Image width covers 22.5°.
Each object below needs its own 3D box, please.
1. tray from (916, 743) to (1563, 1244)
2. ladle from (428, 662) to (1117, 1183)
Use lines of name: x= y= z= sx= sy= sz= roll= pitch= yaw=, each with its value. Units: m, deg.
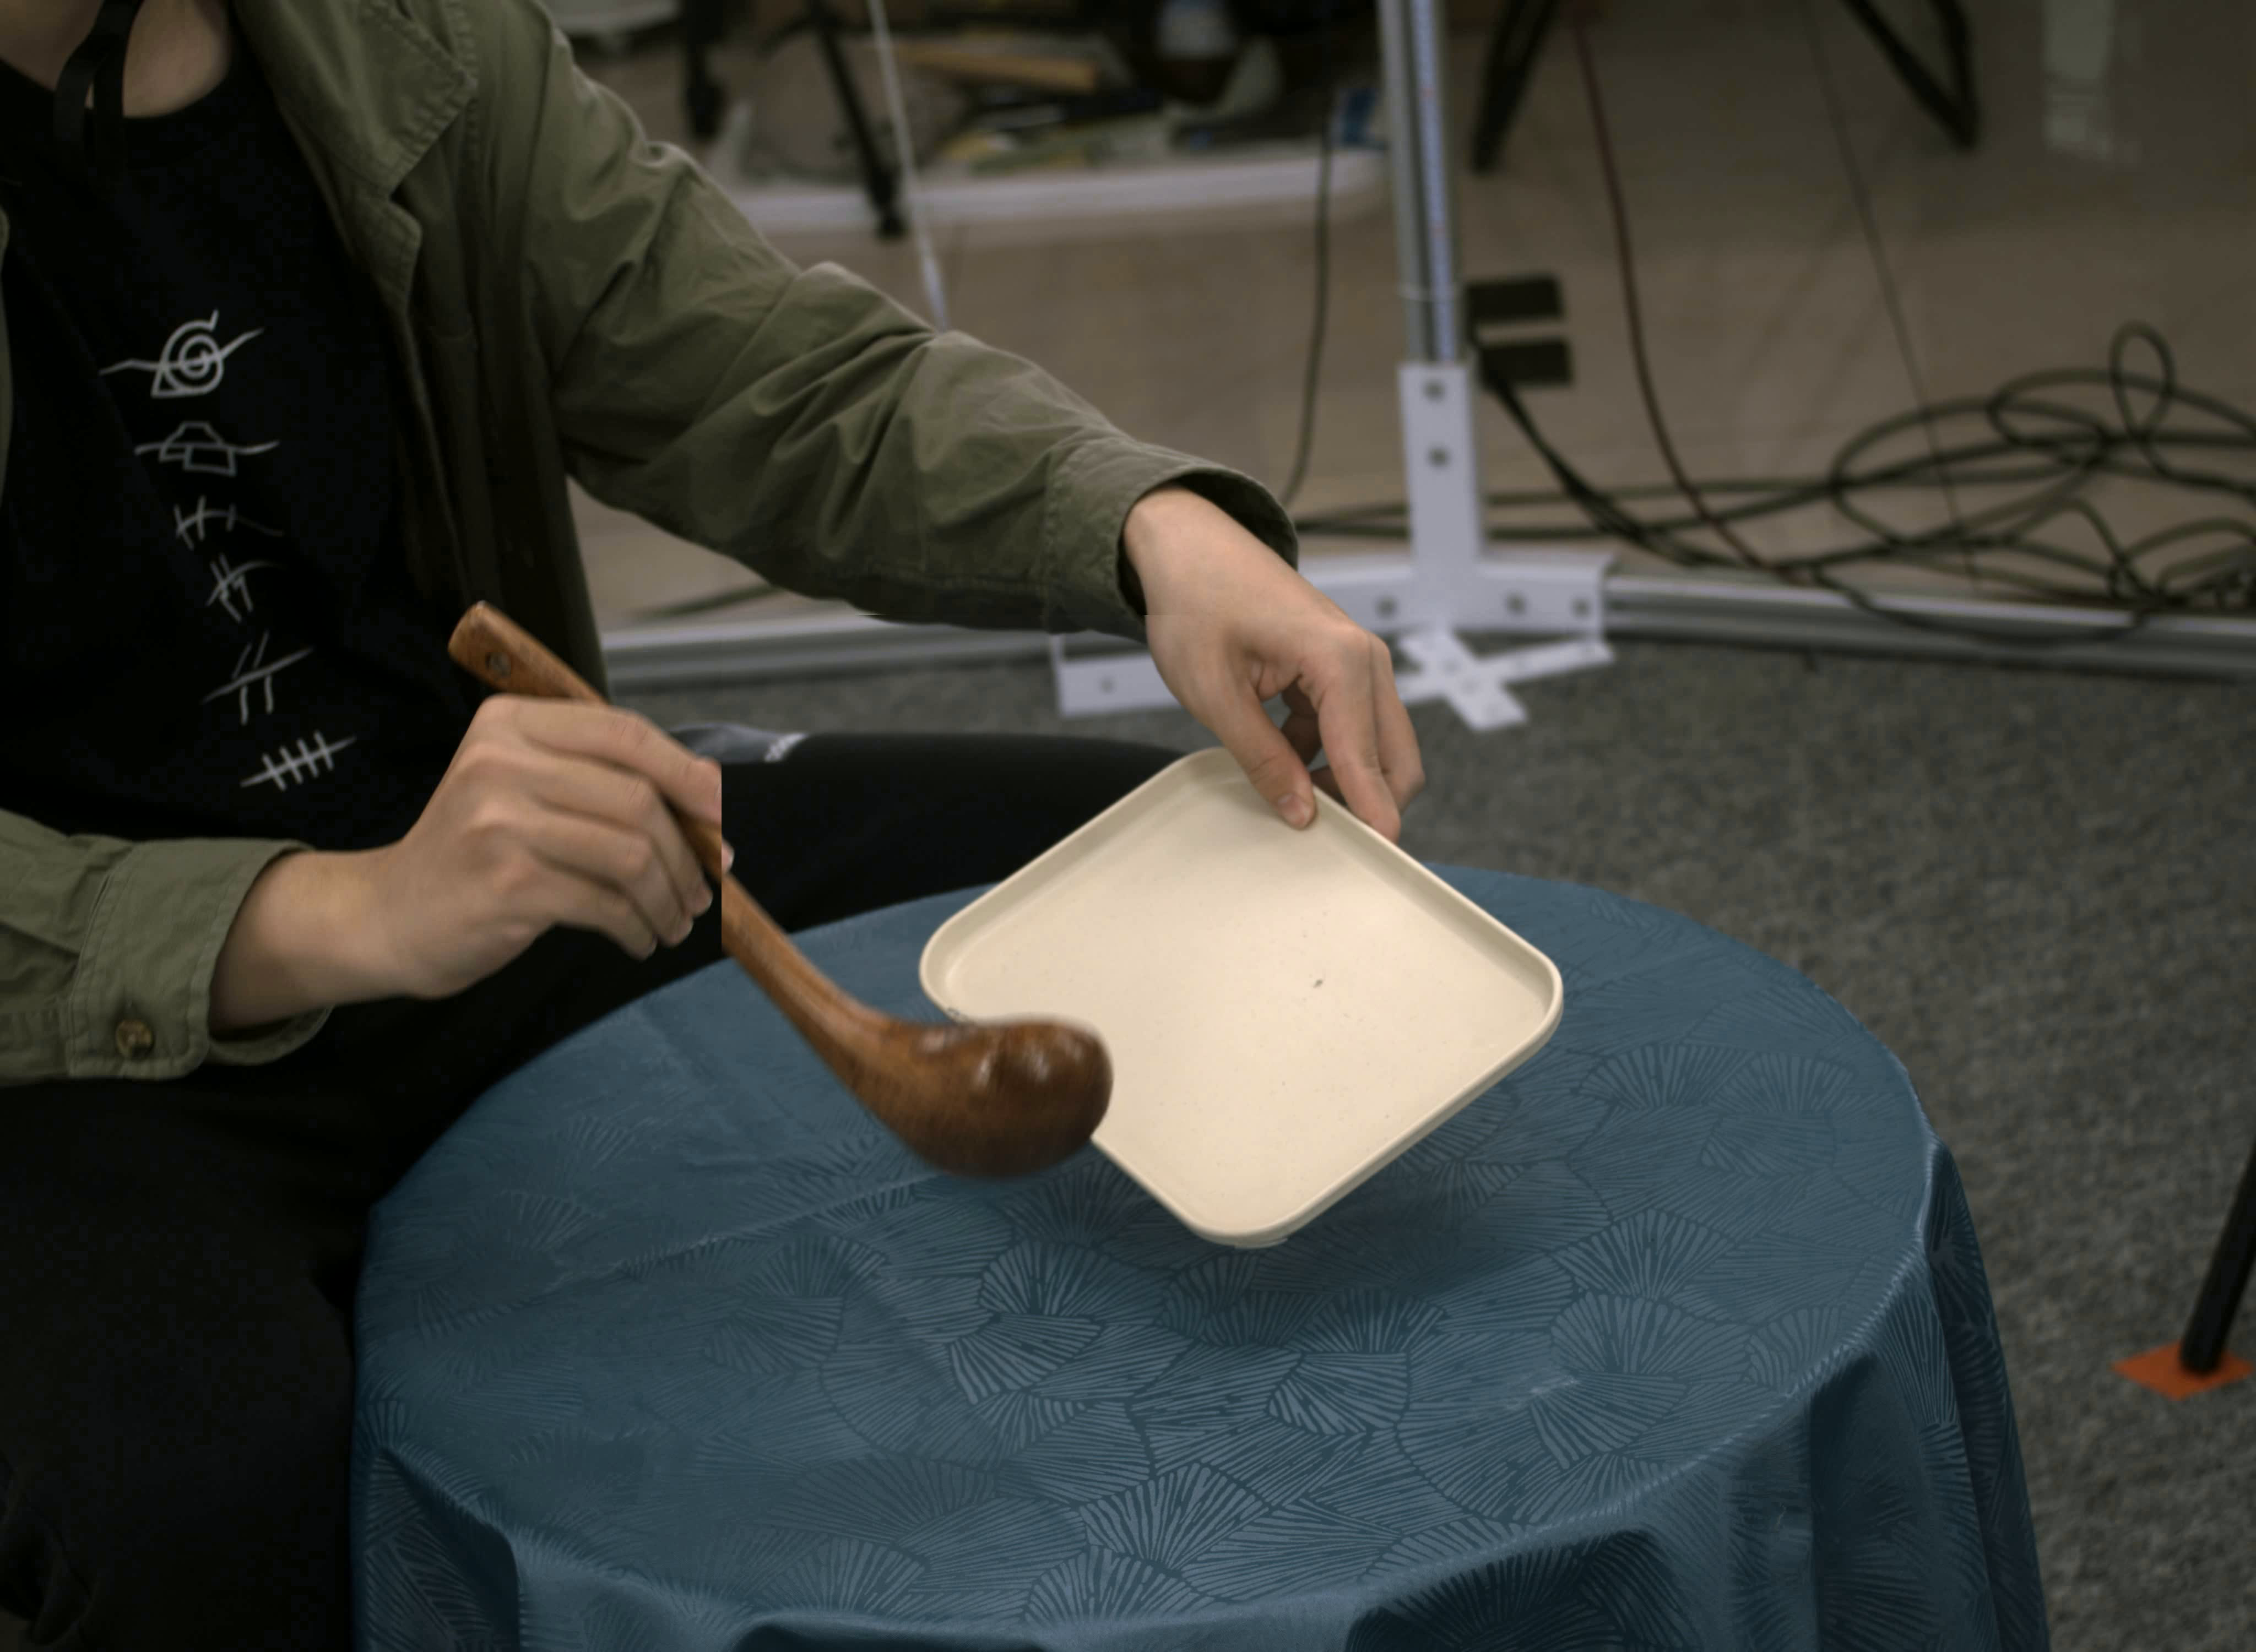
tray: x=0.040 y=0.062 z=2.127 sx=0.170 sy=0.018 sz=0.236 roll=-36 pitch=43 yaw=-15
ladle: x=-0.120 y=0.023 z=1.969 sx=0.273 sy=0.083 sz=0.076 roll=42 pitch=39 yaw=9
